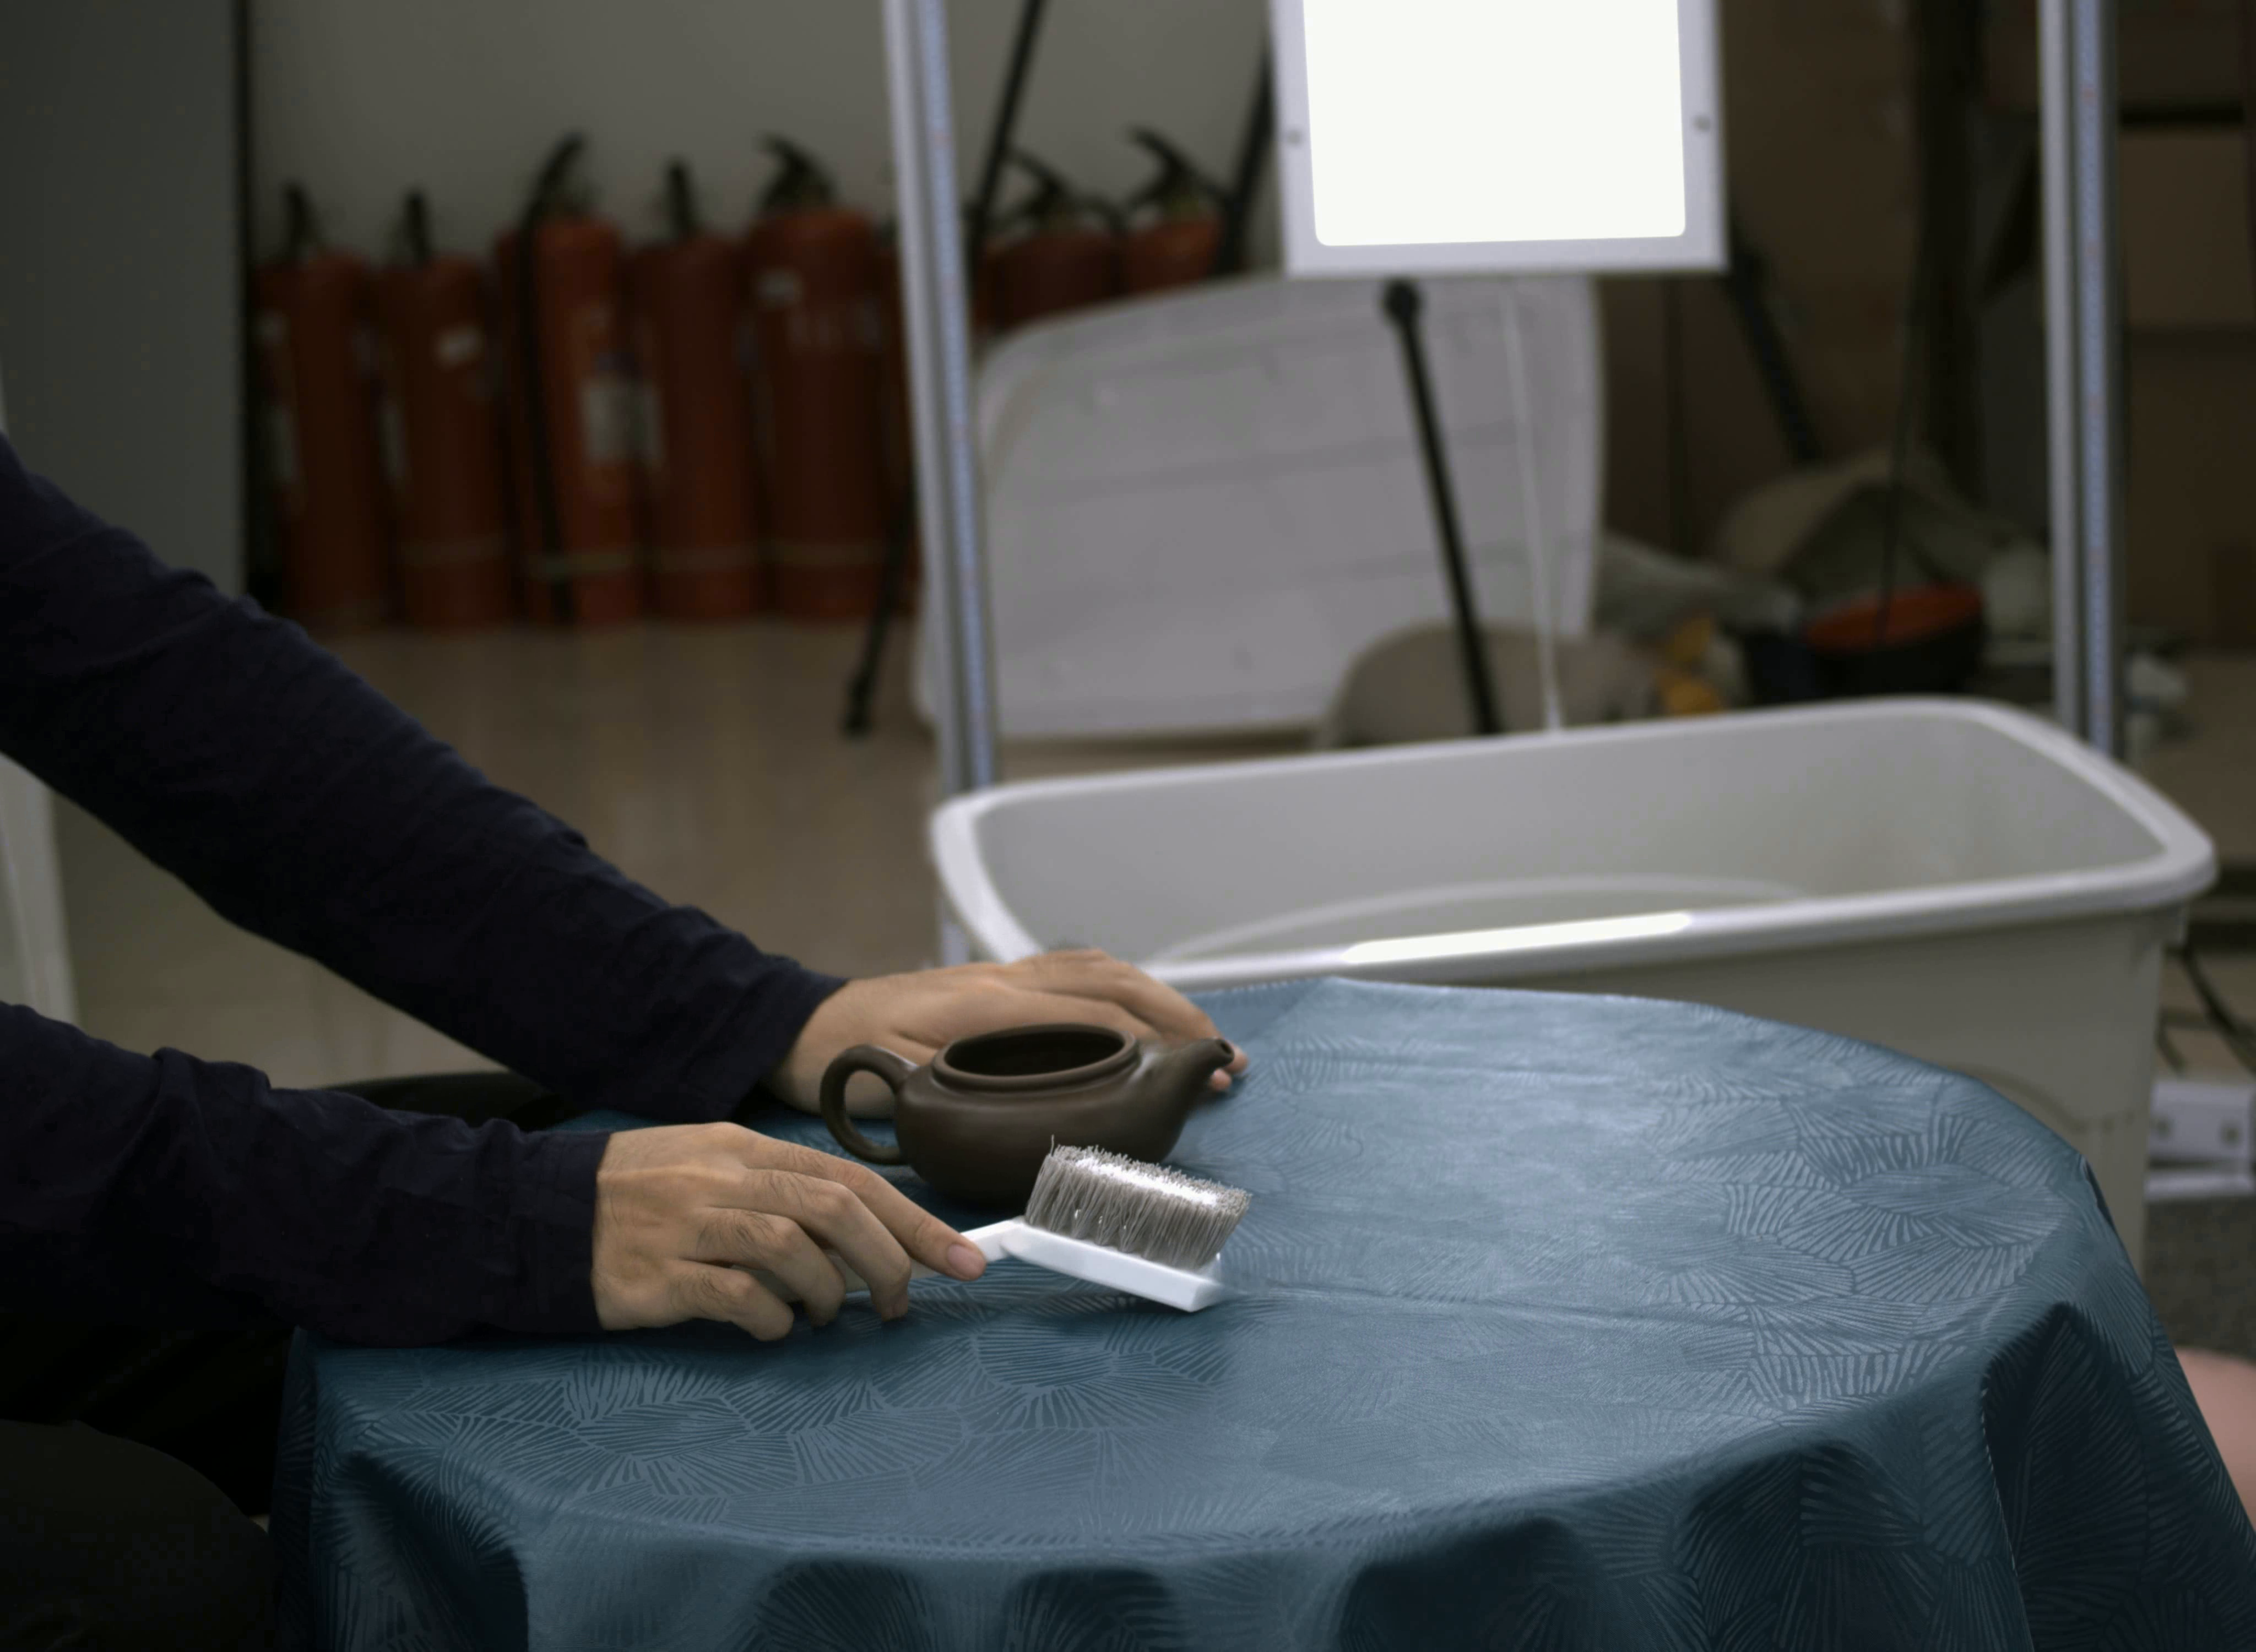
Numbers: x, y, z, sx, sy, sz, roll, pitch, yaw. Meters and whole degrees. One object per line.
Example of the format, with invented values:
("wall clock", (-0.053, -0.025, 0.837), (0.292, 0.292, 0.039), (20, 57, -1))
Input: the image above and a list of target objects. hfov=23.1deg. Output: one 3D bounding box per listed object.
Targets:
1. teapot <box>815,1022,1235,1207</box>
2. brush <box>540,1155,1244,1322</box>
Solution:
("teapot", (-0.035, 0.099, 1.914), (0.155, 0.054, 0.101), (-1, 14, 15))
("brush", (-0.081, 0.133, 1.805), (0.246, 0.050, 0.034), (0, 16, 19))
